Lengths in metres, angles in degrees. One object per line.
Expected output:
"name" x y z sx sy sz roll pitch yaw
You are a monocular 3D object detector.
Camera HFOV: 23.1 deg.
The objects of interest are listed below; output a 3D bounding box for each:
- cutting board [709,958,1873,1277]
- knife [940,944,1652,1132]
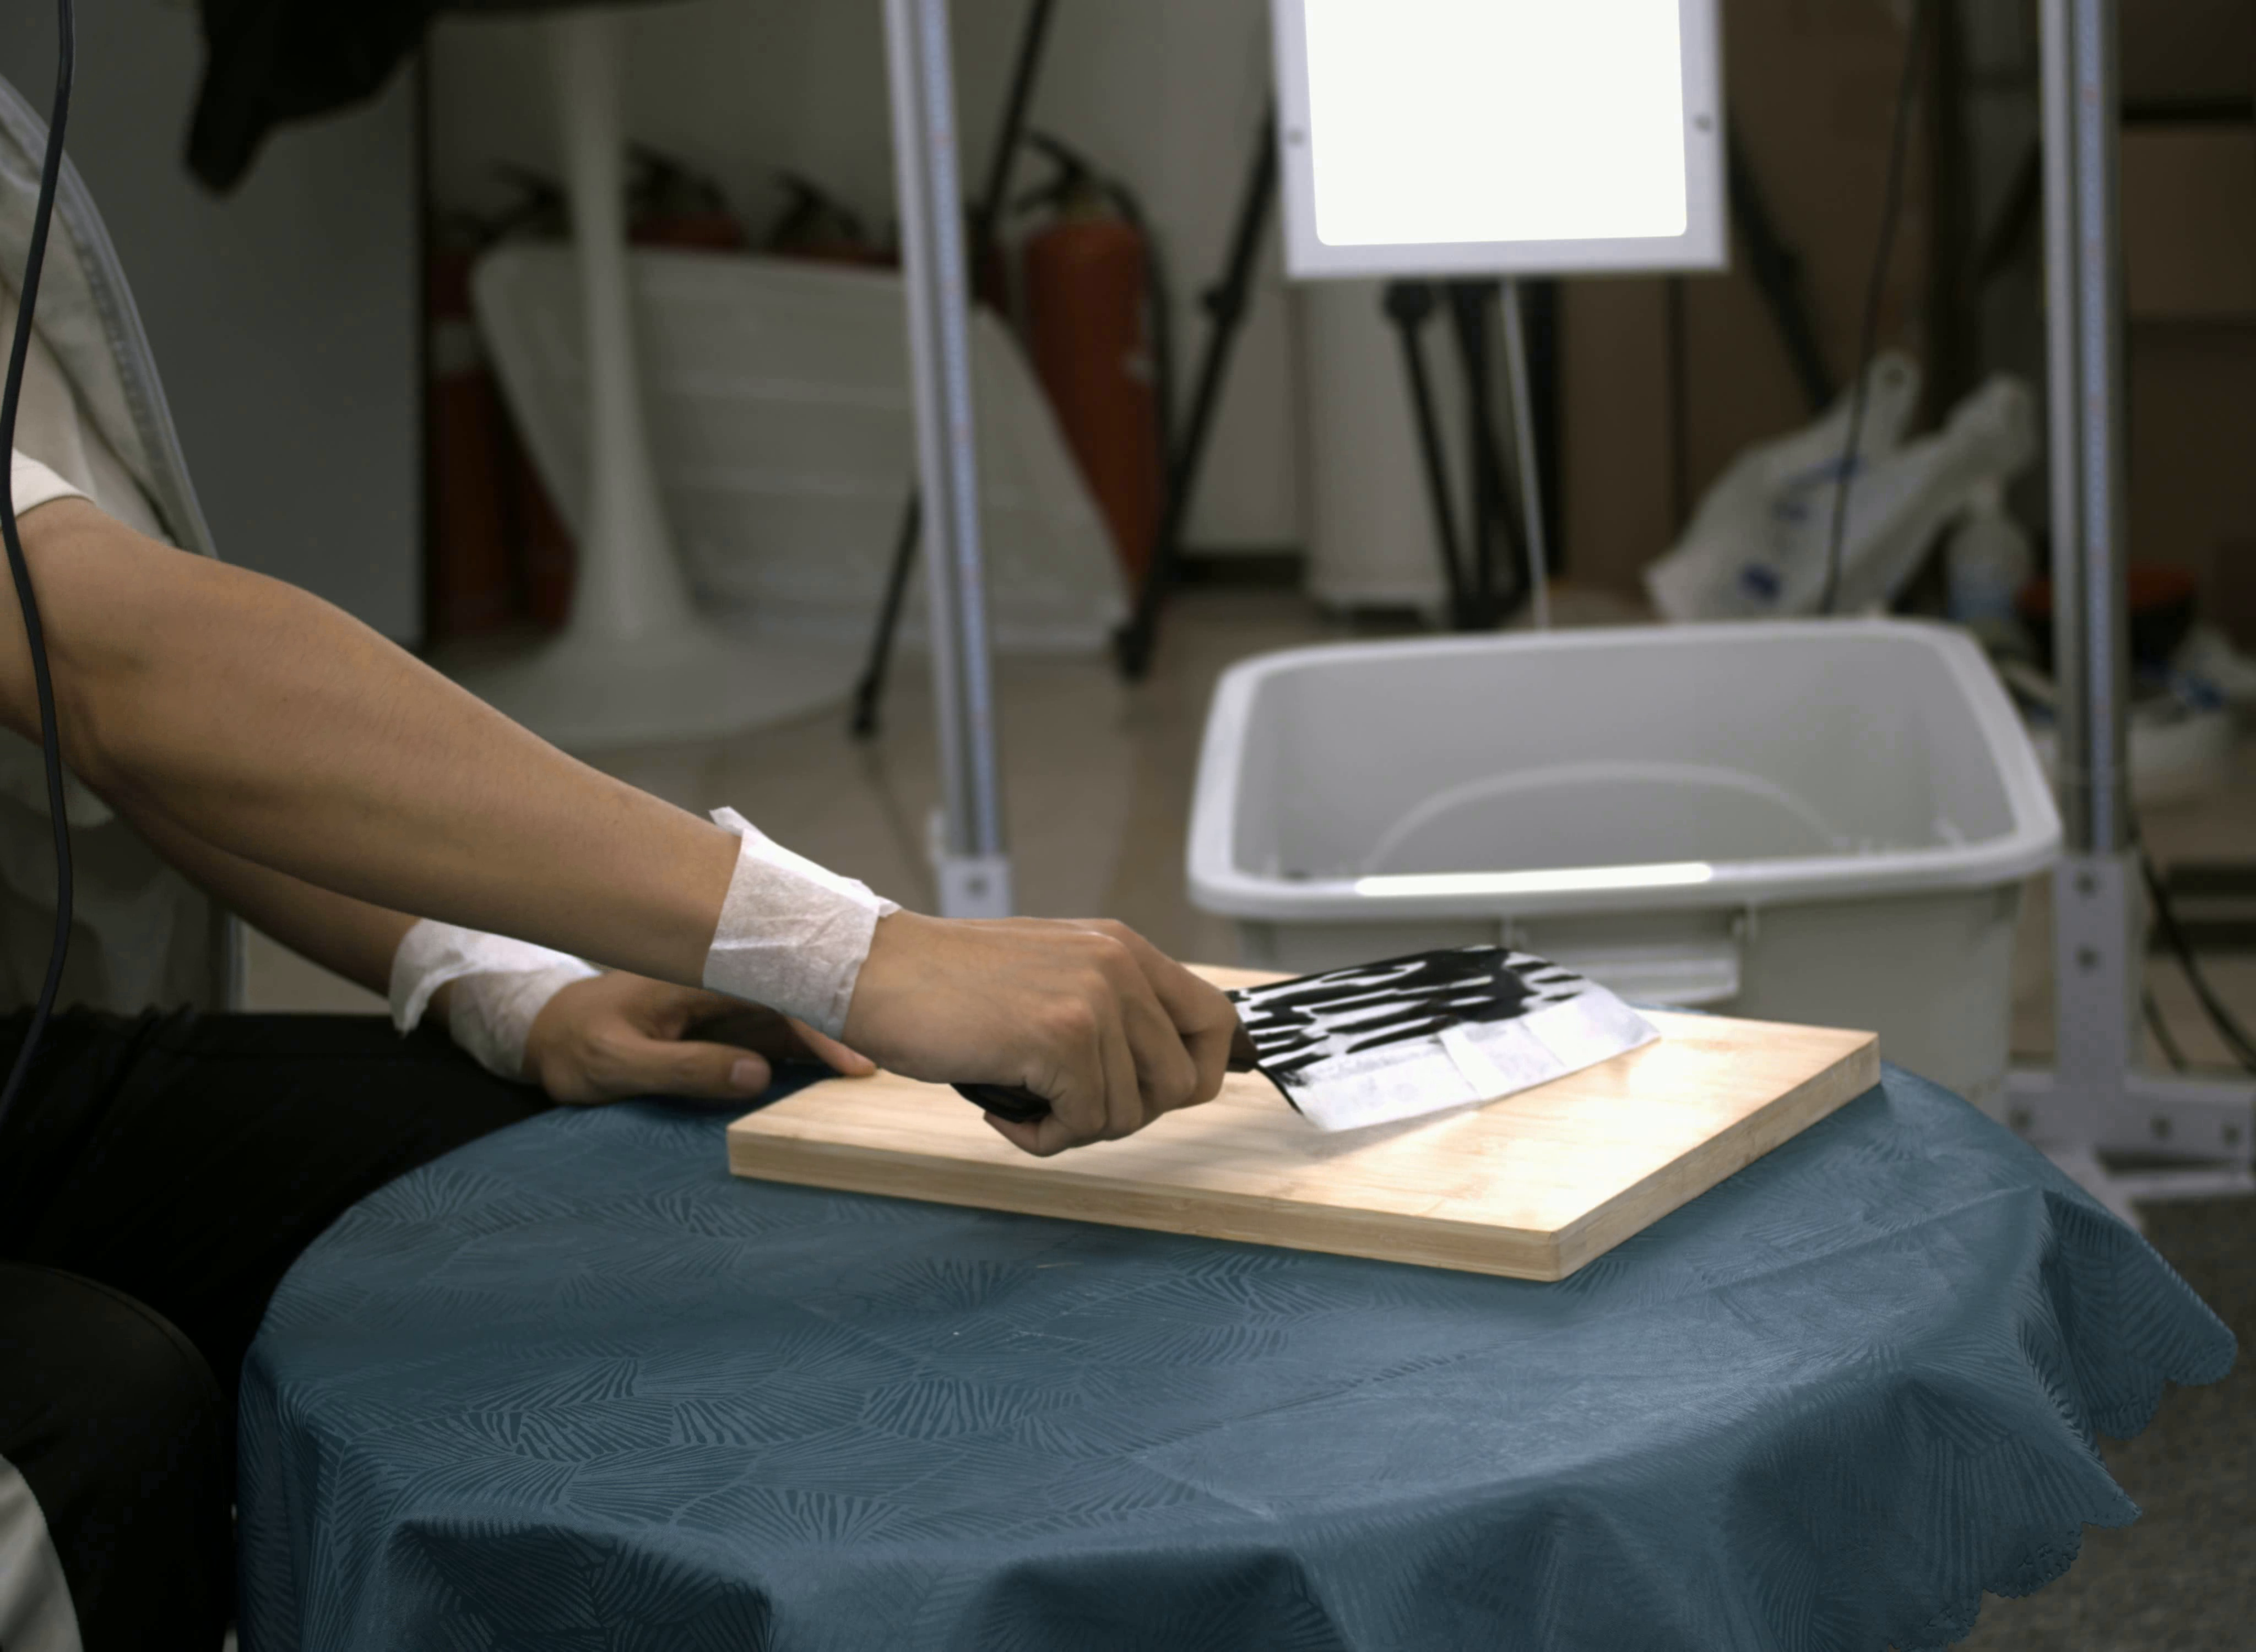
"cutting board" 0.058 0.099 1.955 0.356 0.023 0.245 4 16 34
"knife" 0.065 0.076 1.881 0.292 0.024 0.069 -9 50 -39
